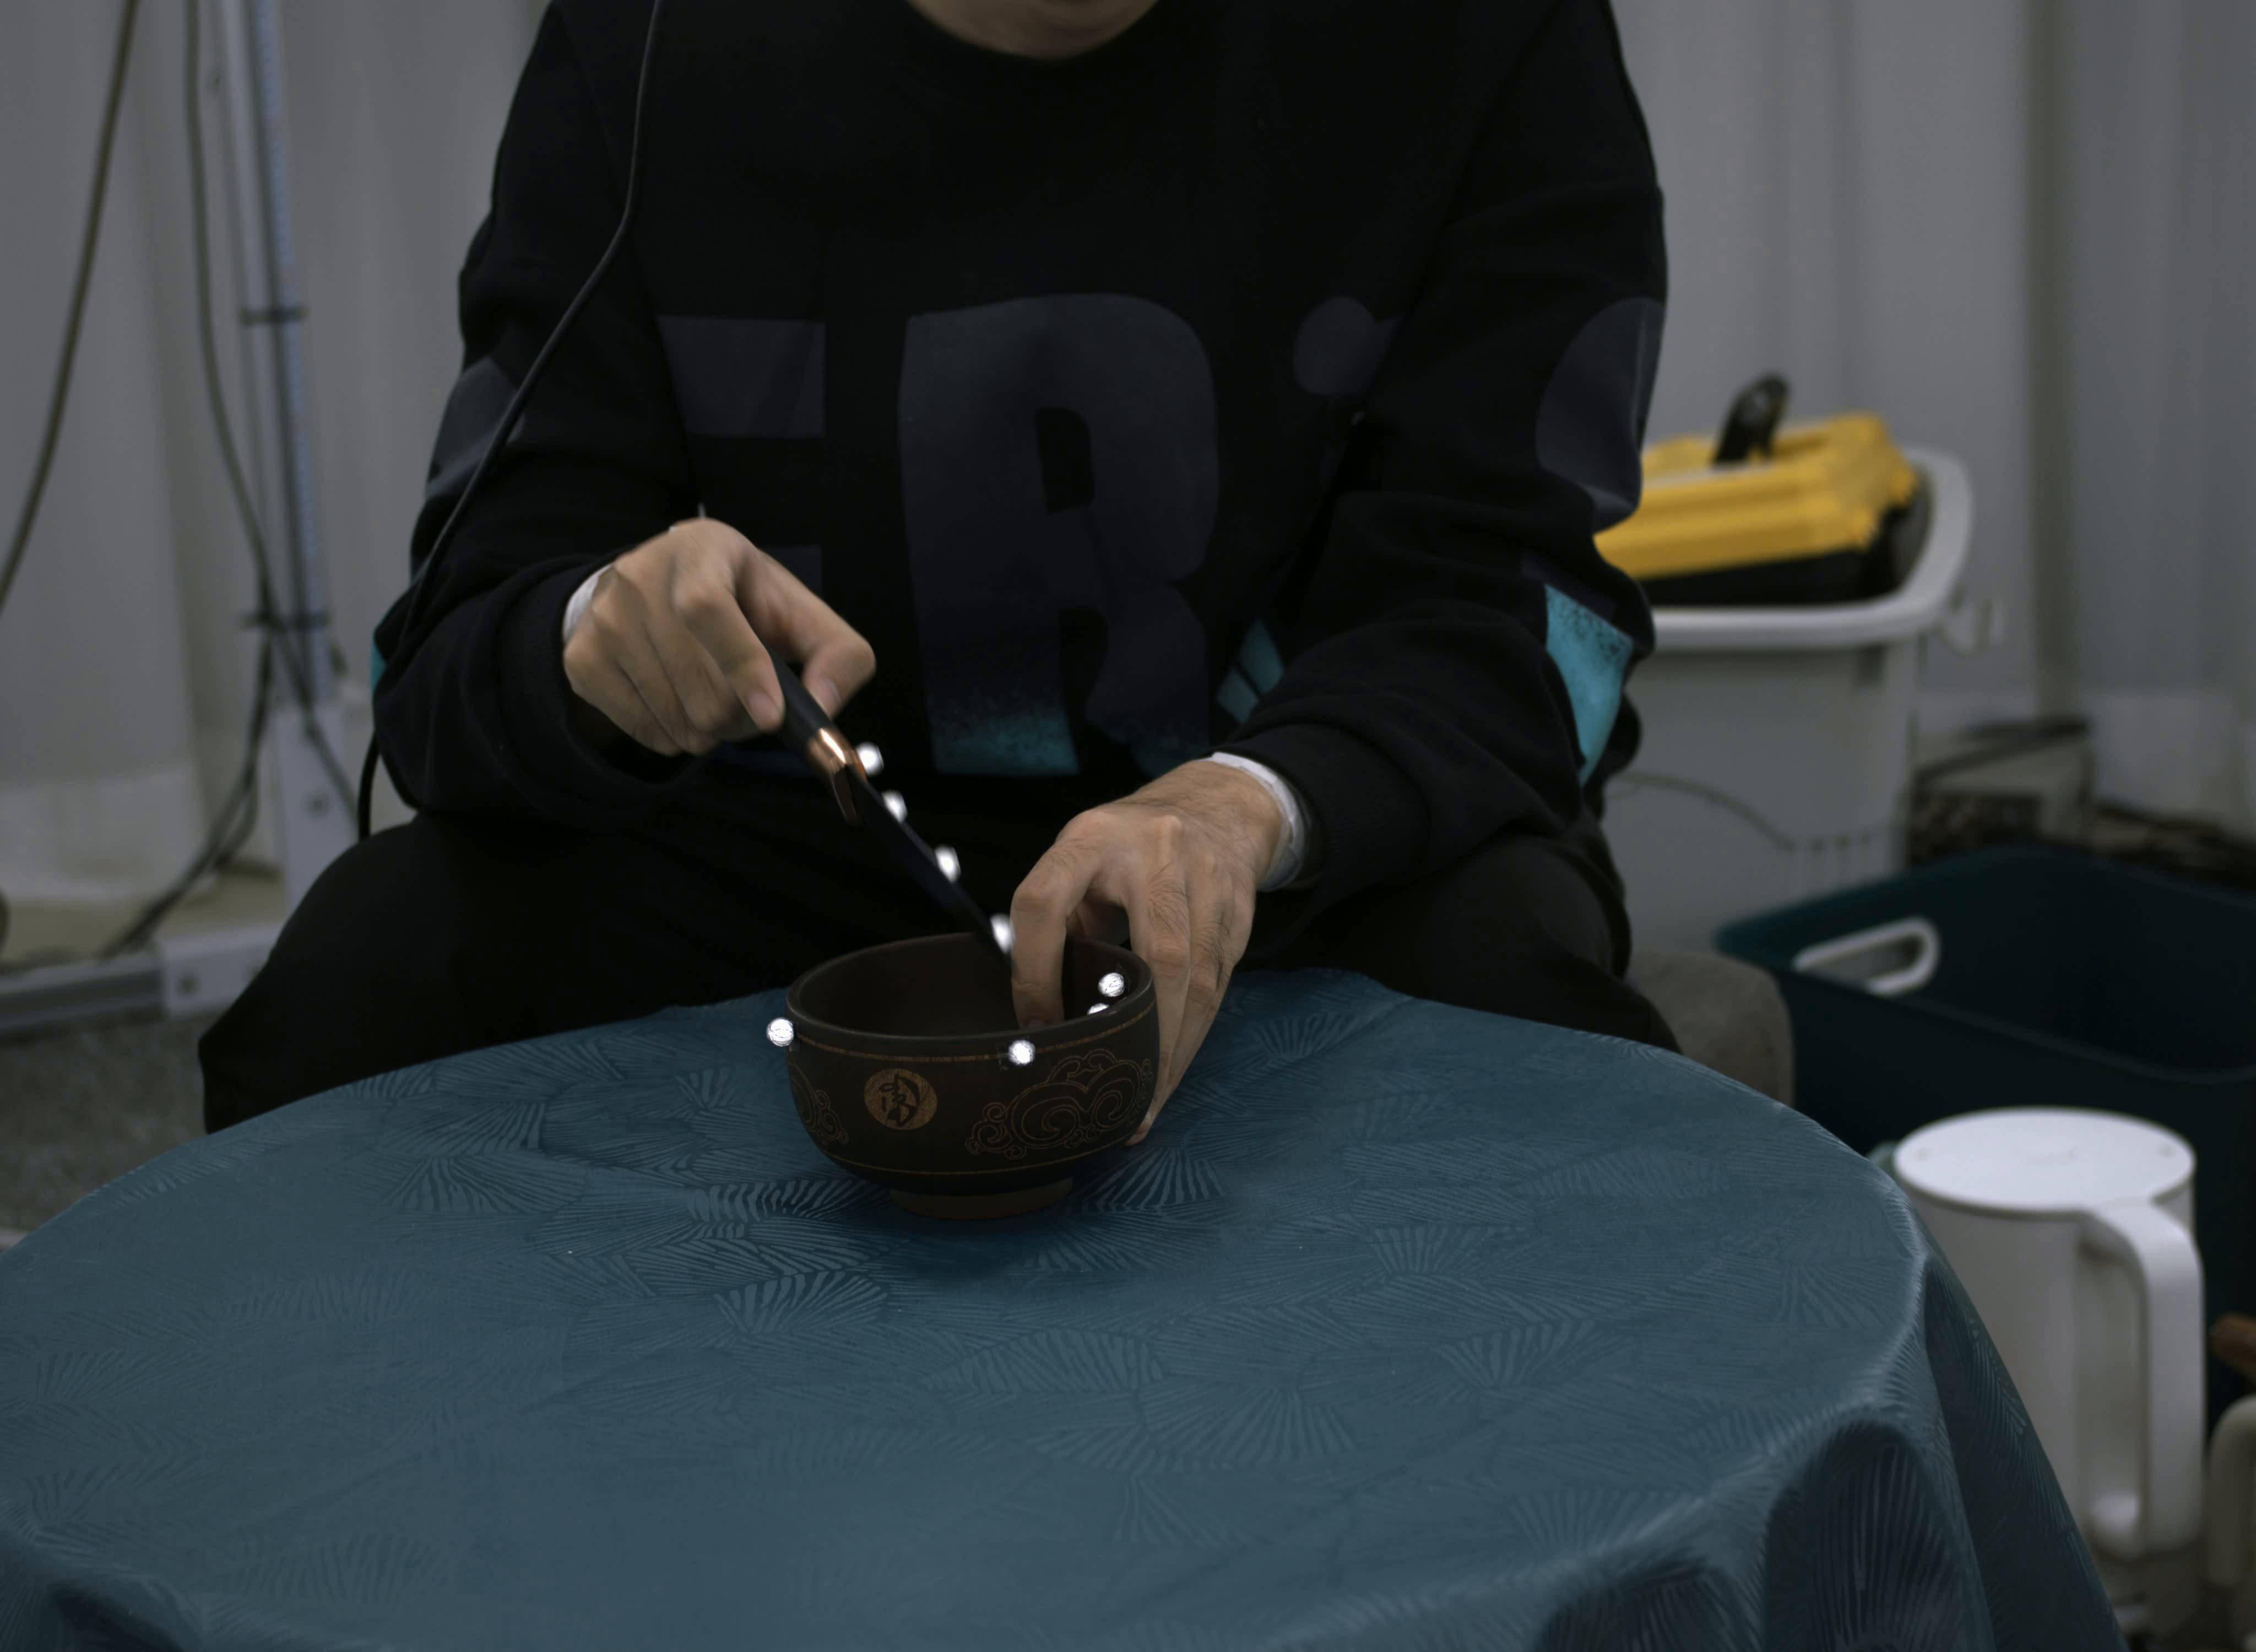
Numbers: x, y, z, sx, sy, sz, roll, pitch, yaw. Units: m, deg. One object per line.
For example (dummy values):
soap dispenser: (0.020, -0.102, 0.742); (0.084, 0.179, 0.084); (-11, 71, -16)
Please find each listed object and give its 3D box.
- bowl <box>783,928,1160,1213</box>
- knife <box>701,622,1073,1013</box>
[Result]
bowl: (-0.048, 0.080, 1.711); (0.117, 0.069, 0.119); (-2, 13, 0)
knife: (-0.079, -0.004, 1.747); (0.026, 0.017, 0.228); (13, 24, -42)
